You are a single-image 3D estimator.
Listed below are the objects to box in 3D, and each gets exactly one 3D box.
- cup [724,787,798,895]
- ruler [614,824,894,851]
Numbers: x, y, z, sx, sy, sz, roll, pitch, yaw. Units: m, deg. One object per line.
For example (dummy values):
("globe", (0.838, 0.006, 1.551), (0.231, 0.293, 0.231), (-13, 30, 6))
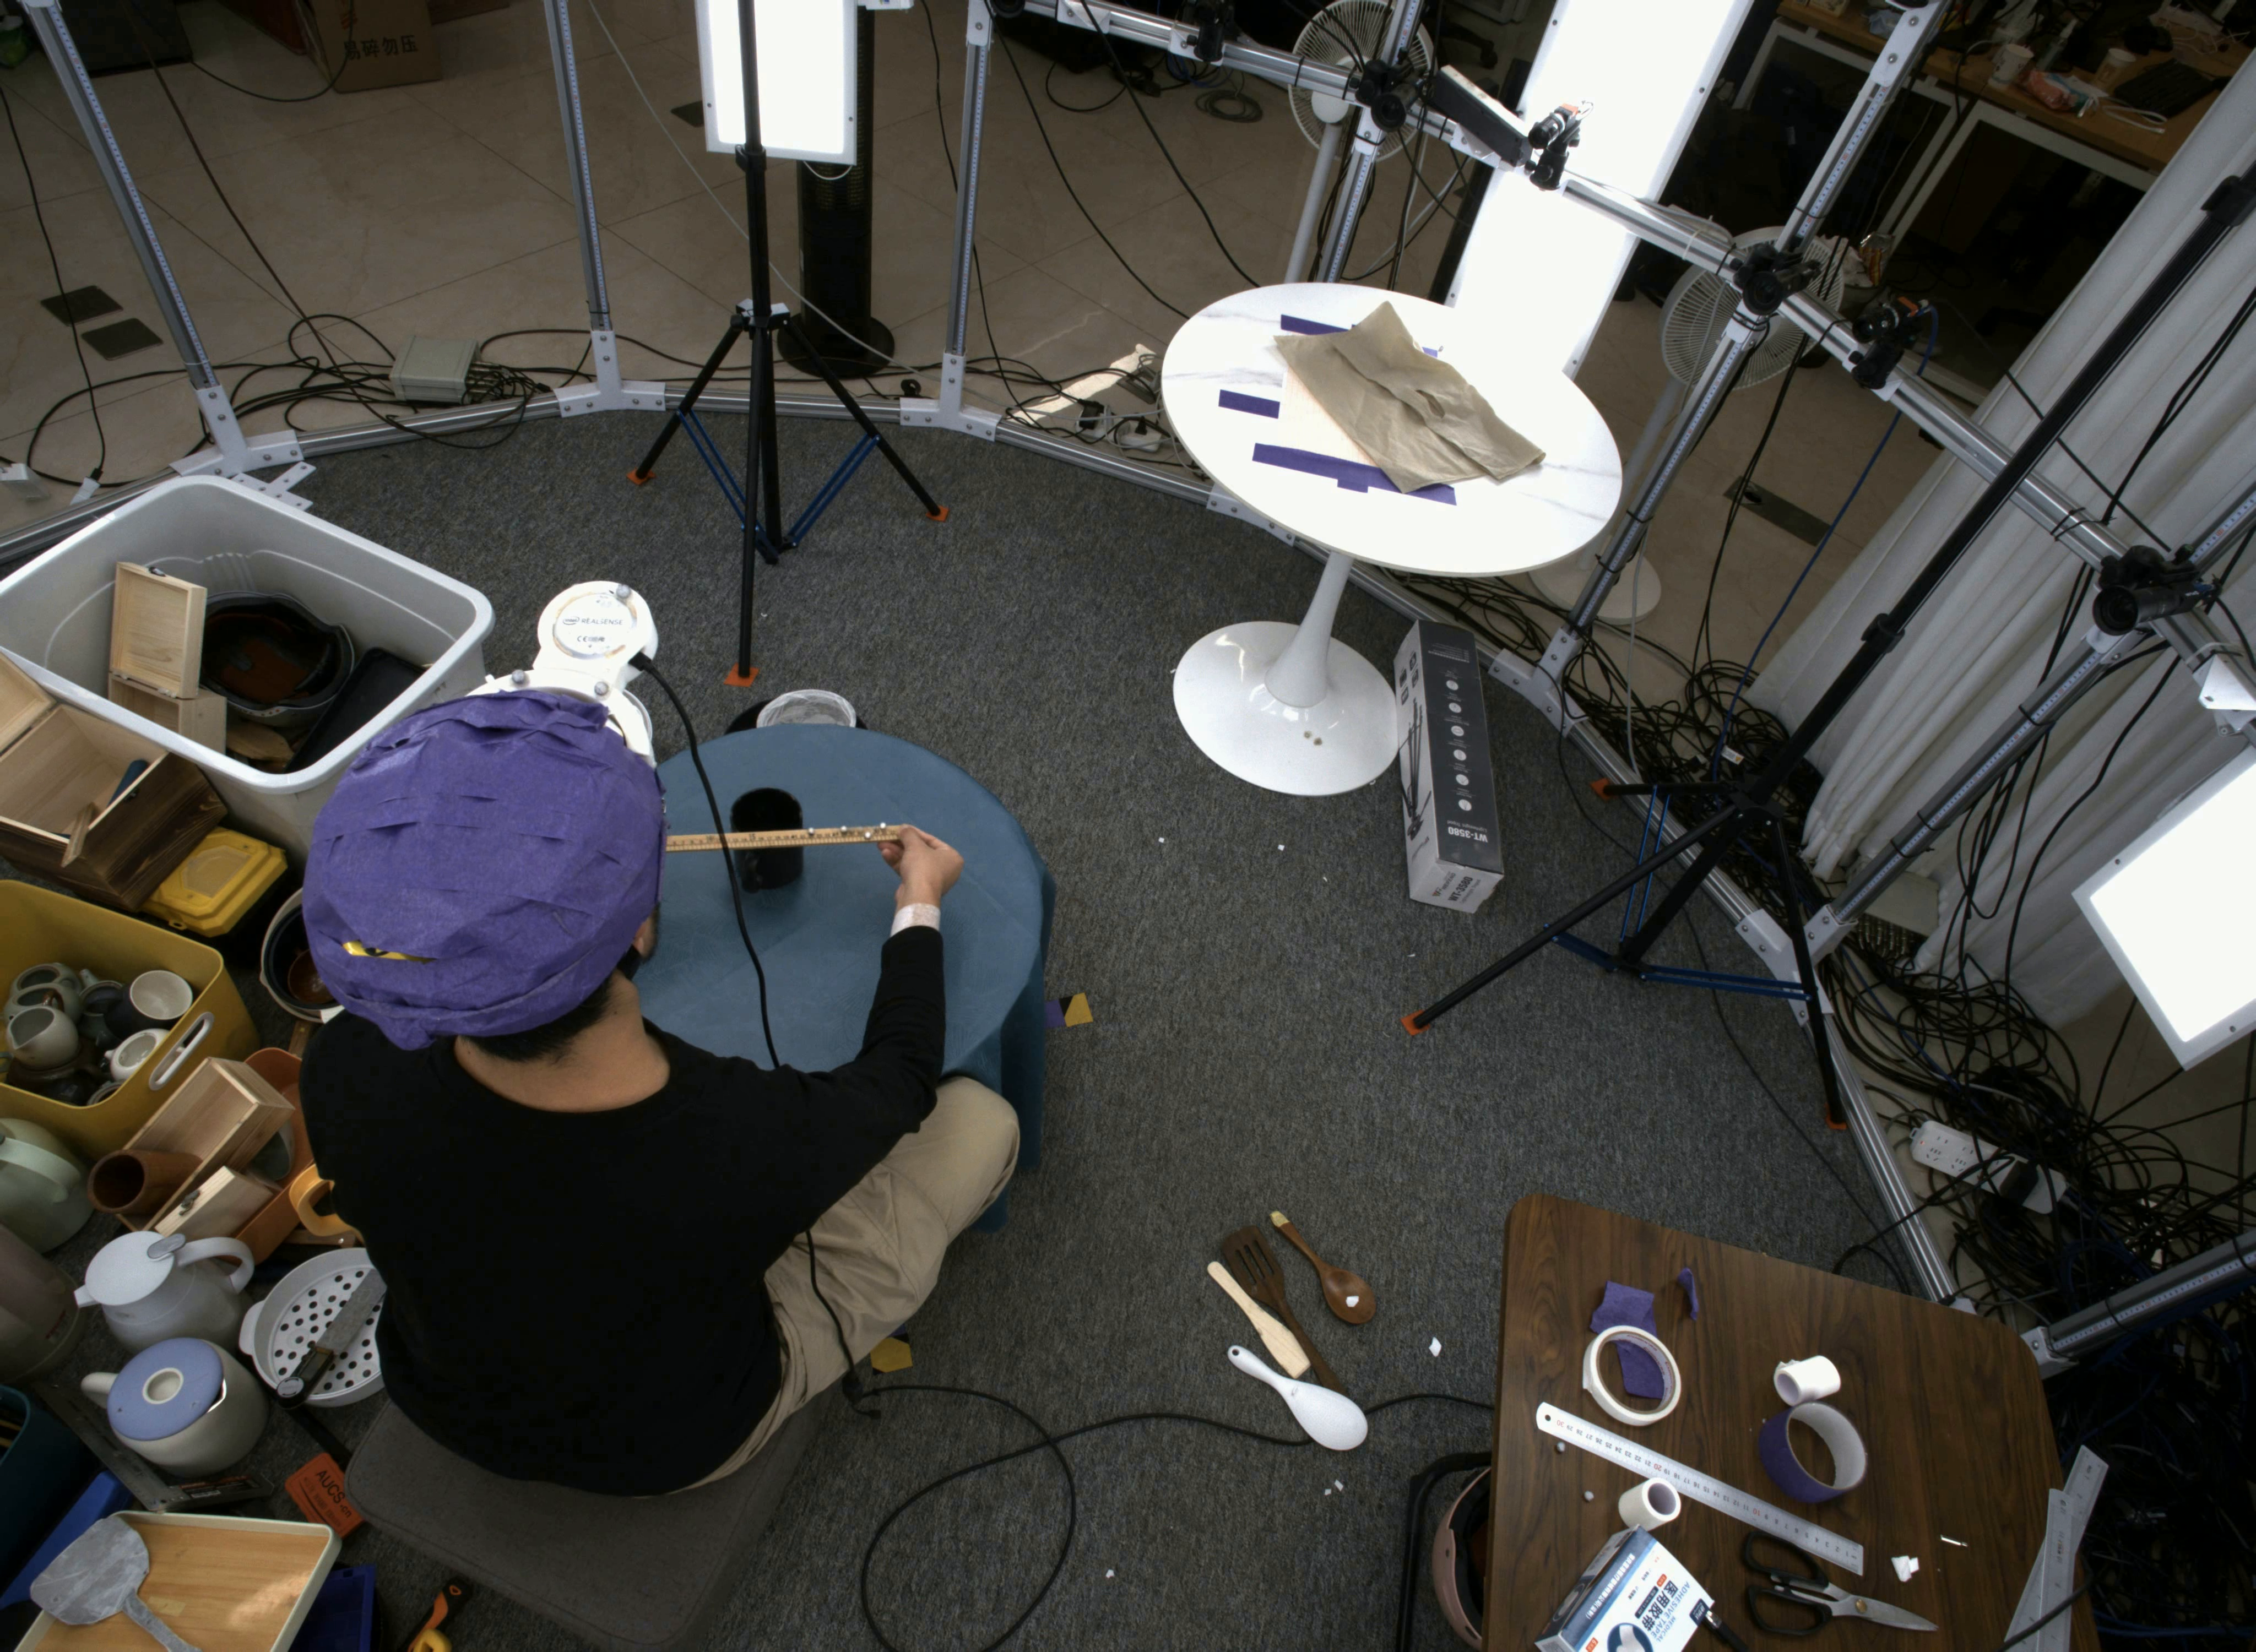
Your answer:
("cup", (-0.465, 0.029, 1.620), (0.088, 0.107, 0.122), (16, 50, -3))
("ruler", (-0.446, 0.010, 1.550), (0.334, 0.023, 0.026), (-2, 42, -22))
